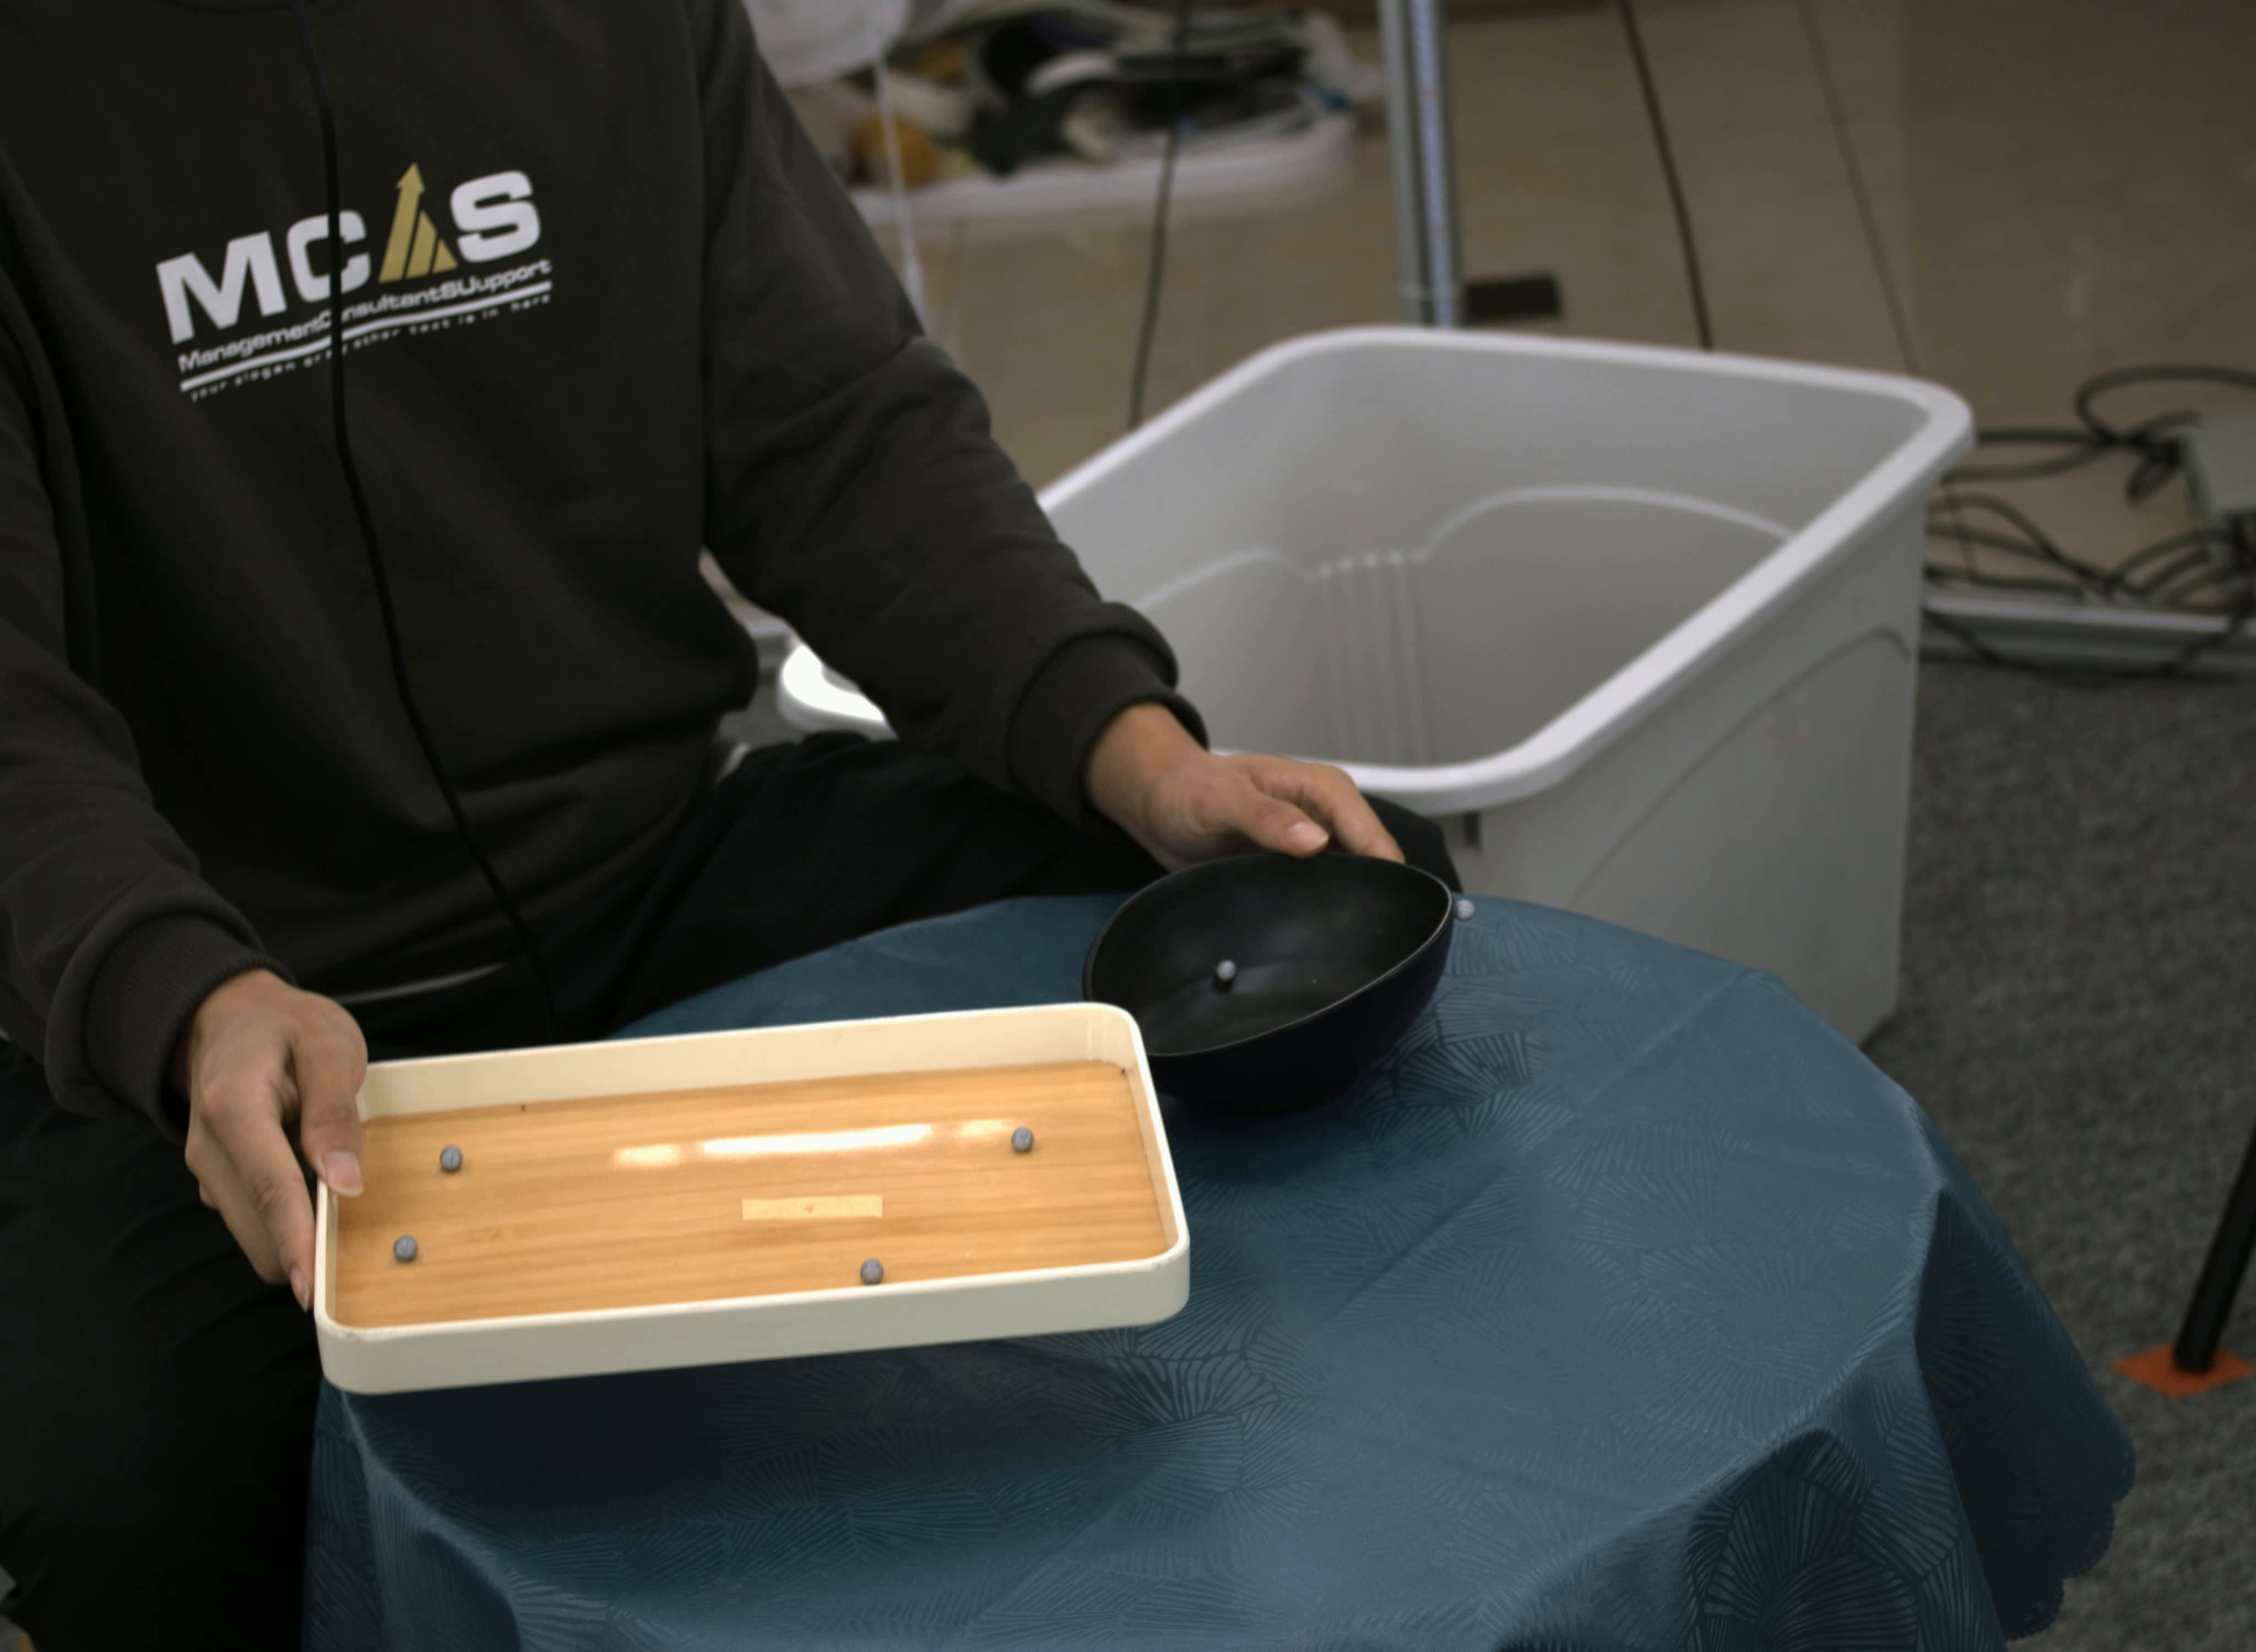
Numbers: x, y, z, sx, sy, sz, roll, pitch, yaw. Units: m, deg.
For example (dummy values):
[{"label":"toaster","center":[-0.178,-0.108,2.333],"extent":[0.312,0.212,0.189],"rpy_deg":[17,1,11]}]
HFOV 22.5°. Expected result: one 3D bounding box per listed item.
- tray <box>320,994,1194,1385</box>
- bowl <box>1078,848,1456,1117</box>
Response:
[{"label":"tray","center":[-0.135,0.126,2.010],"extent":[0.300,0.028,0.188],"rpy_deg":[-4,28,-5]},{"label":"bowl","center":[0.057,0.069,2.210],"extent":[0.136,0.068,0.168],"rpy_deg":[10,31,34]}]
